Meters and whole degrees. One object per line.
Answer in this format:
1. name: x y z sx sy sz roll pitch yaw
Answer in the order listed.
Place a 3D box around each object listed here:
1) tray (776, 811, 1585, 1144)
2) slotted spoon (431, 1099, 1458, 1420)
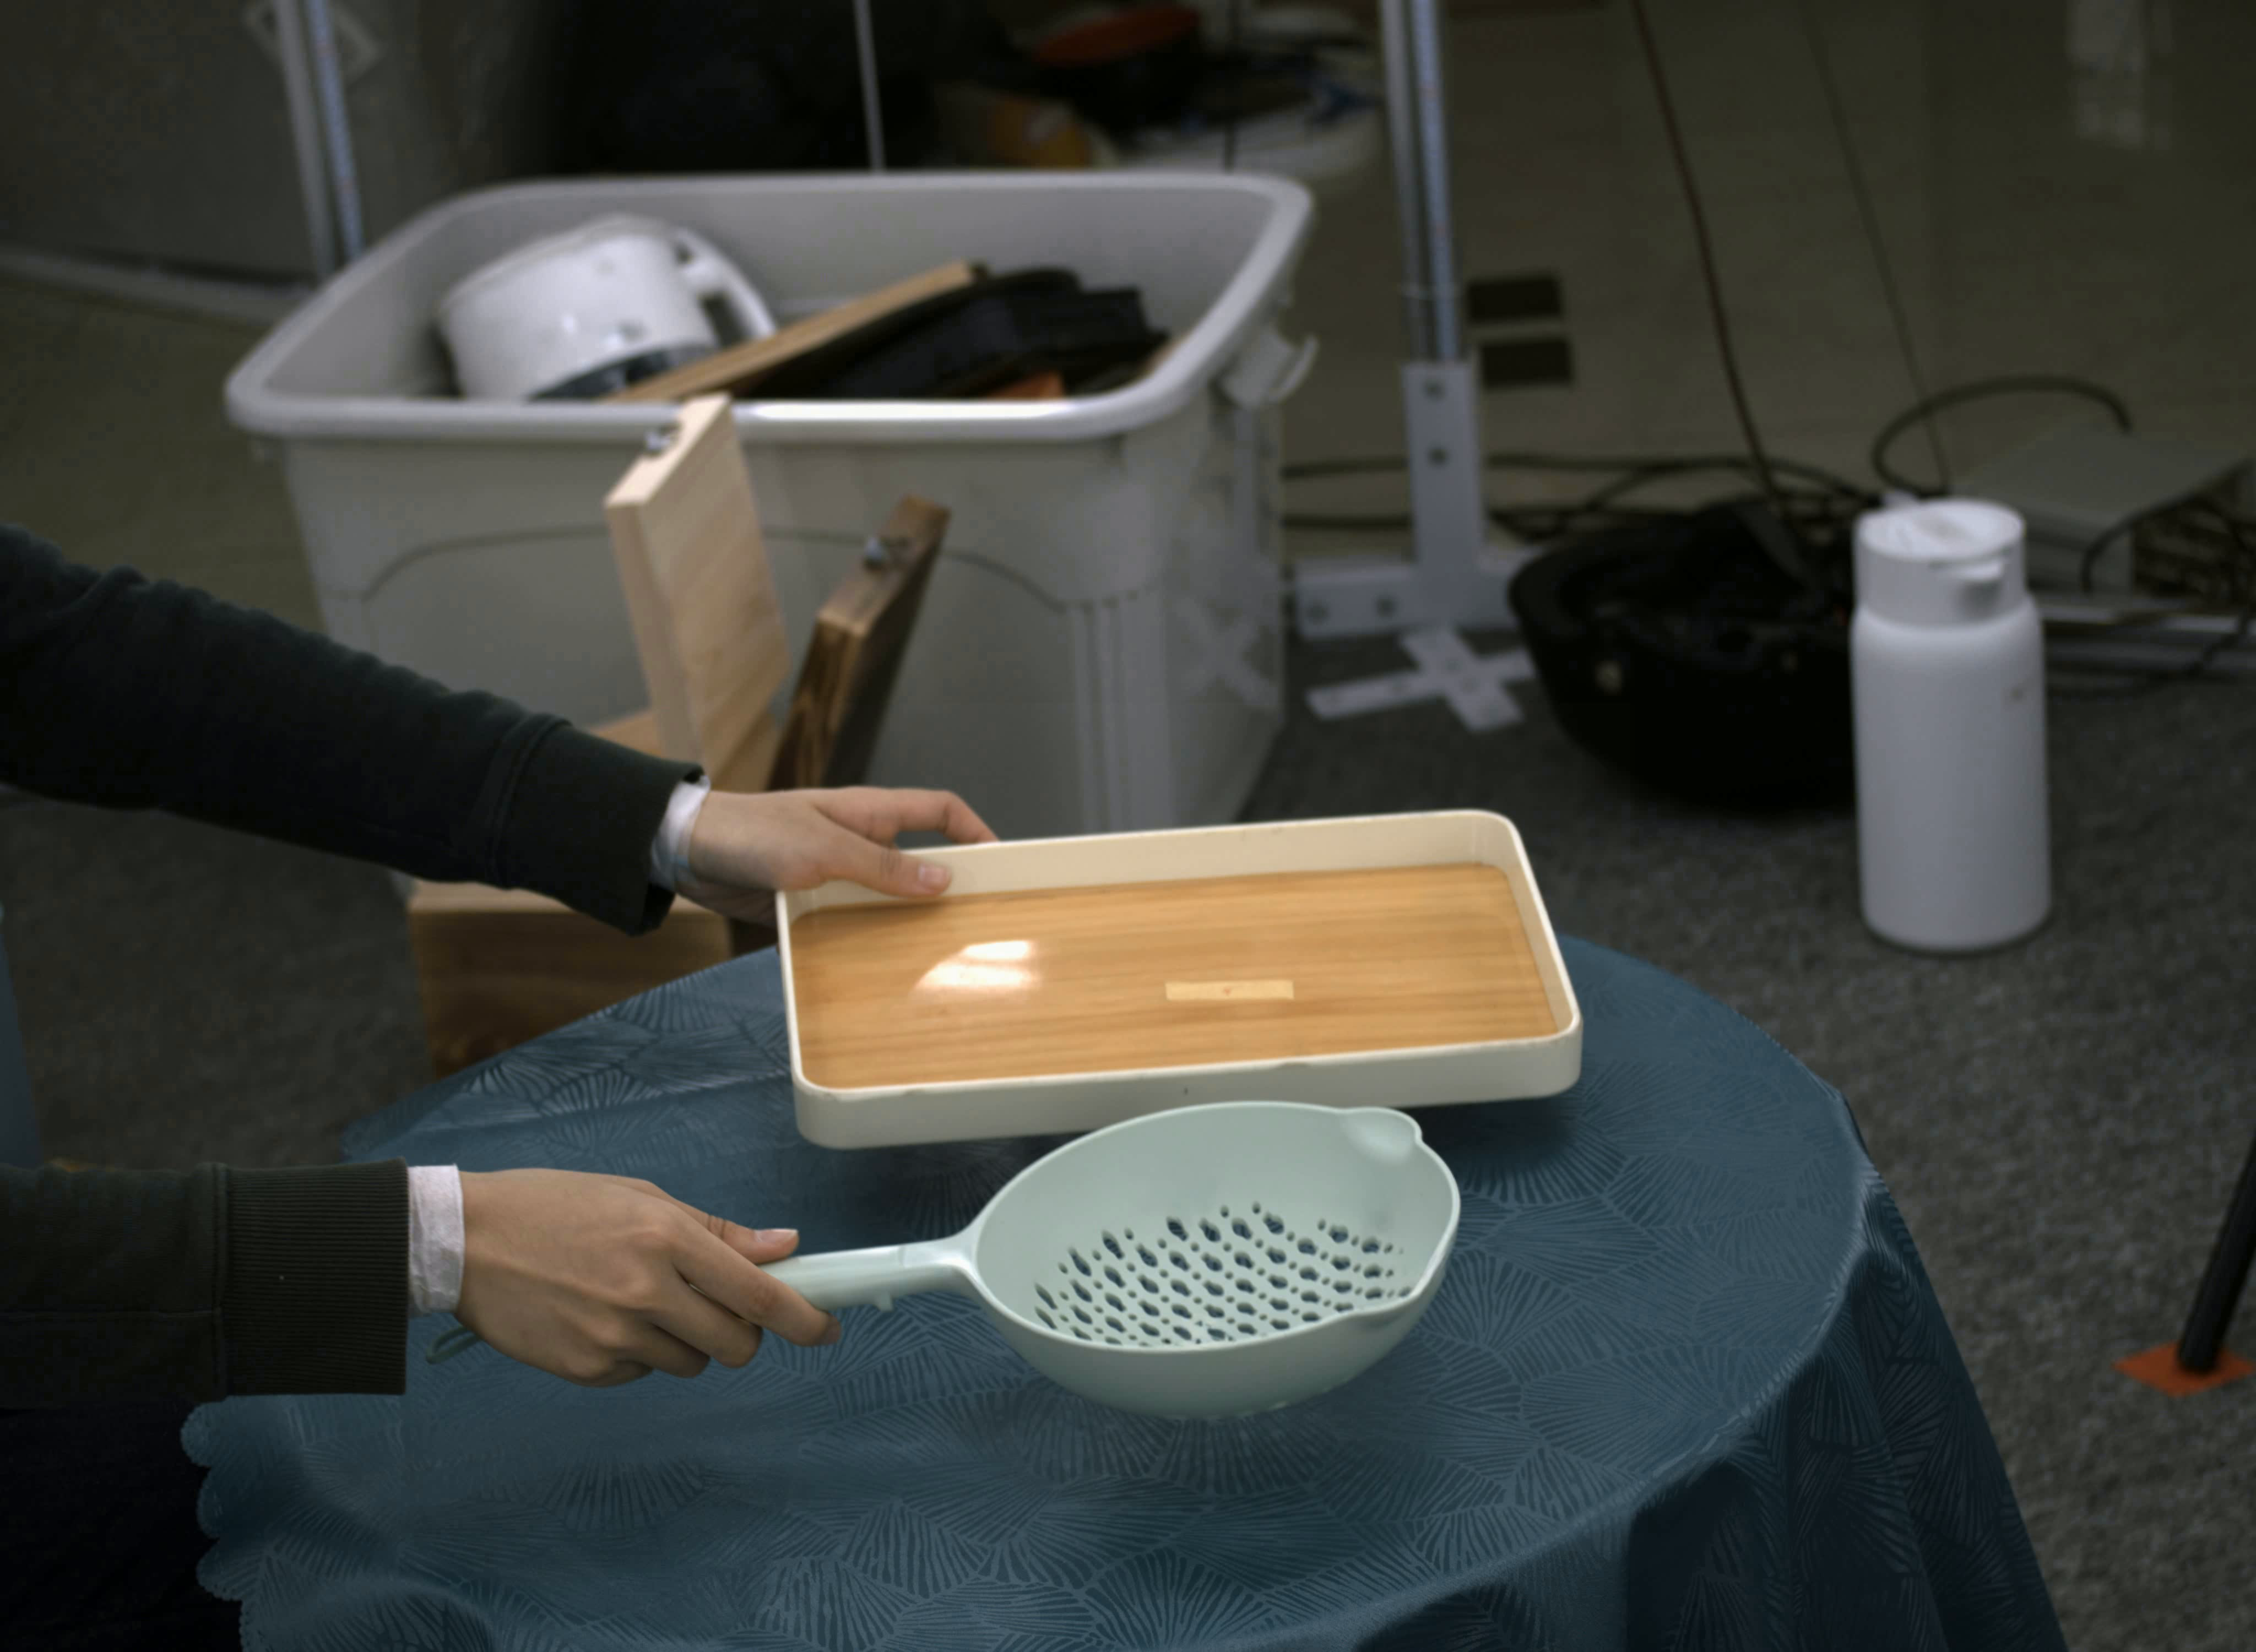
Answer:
1. tray: 0.016 0.057 2.200 0.300 0.028 0.188 -4 28 -4
2. slotted spoon: -0.066 0.158 1.972 0.358 0.076 0.167 1 26 1
